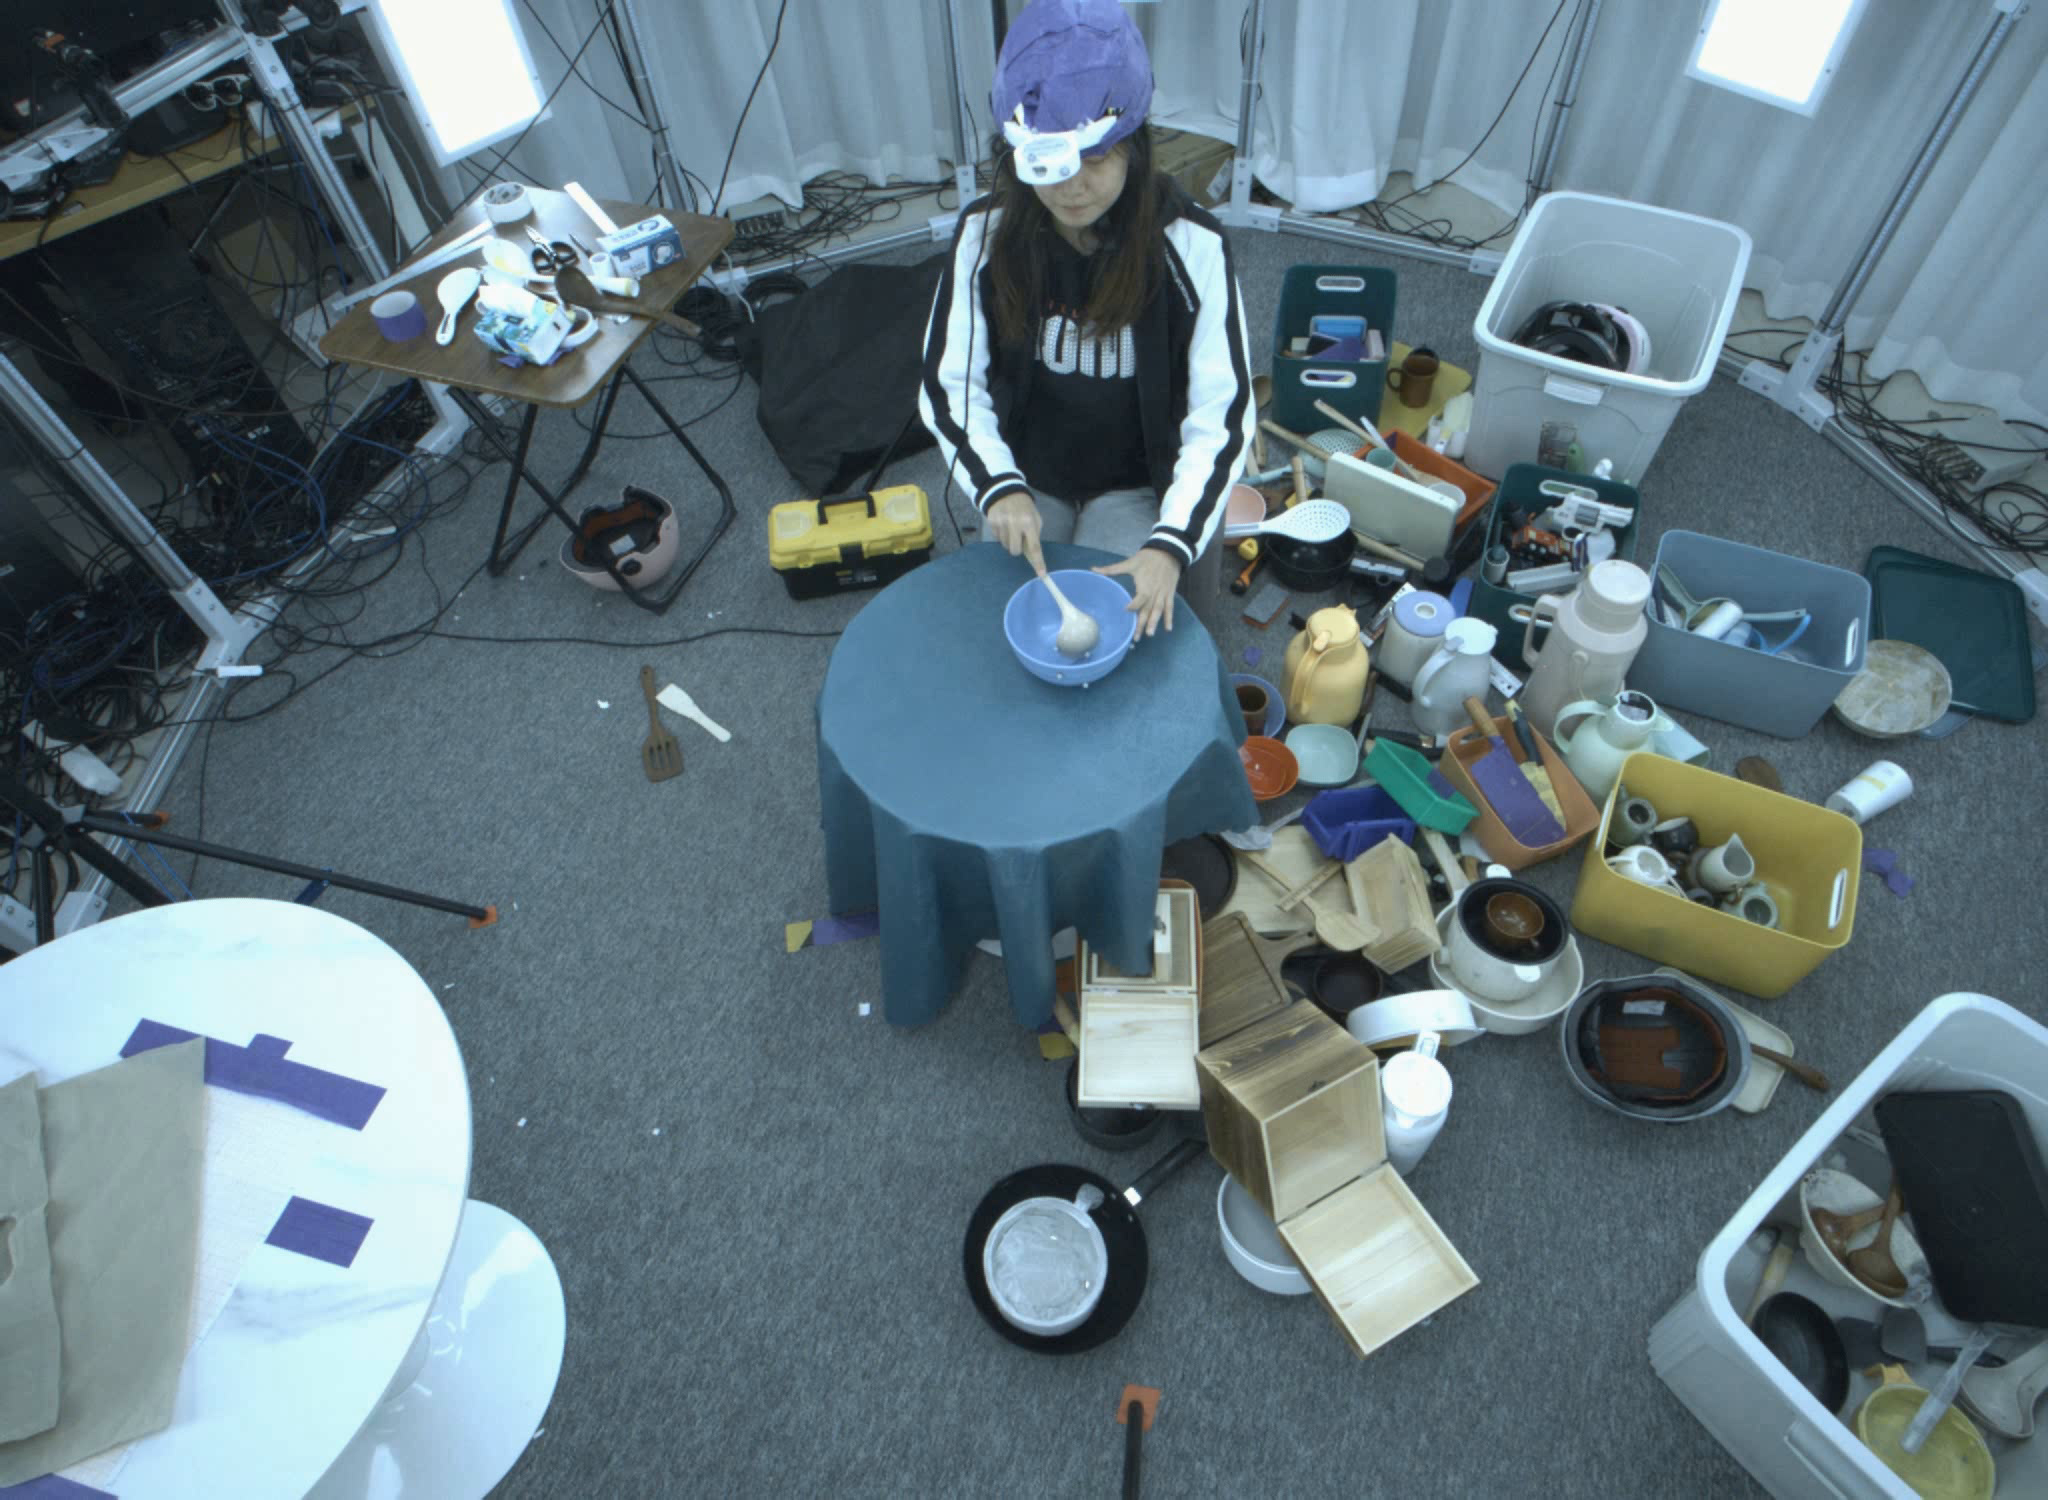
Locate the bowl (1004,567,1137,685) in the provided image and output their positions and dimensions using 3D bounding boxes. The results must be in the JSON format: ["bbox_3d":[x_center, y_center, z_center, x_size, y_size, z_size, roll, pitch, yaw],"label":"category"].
[{"bbox_3d":[0.070,-0.171,1.846,0.196,0.096,0.194,0,58,2],"label":"bowl"}]

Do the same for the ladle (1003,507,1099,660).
[{"bbox_3d":[0.030,-0.251,1.864,0.072,0.073,0.252,-27,76,-13],"label":"ladle"}]
